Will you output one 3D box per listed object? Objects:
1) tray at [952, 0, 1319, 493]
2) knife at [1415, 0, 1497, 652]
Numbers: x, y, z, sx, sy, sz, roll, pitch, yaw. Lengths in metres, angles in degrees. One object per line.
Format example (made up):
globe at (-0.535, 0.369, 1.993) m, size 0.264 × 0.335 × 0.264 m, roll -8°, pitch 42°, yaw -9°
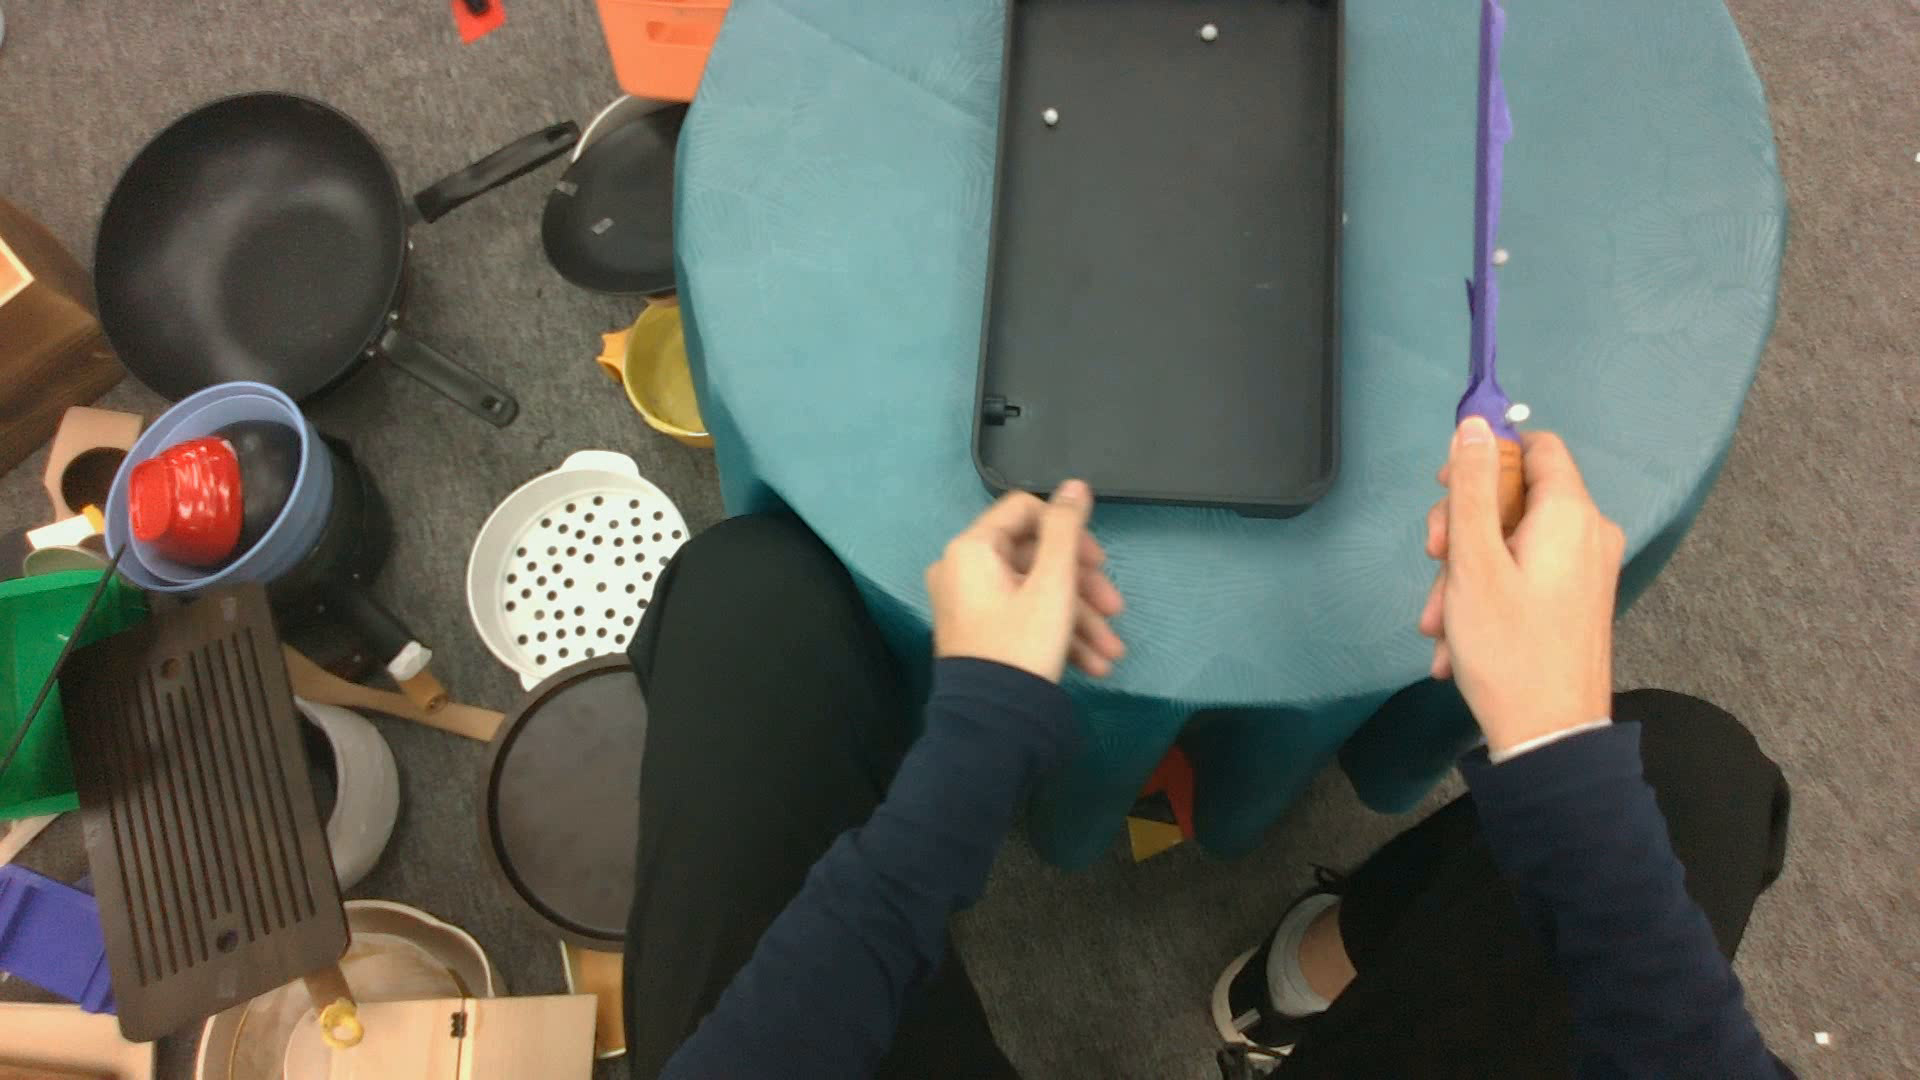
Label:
tray at (0.092, -0.181, 0.737) m, size 0.184 × 0.037 × 0.318 m, roll 1°, pitch 76°, yaw 2°
knife at (0.218, -0.109, 0.602) m, size 0.032 × 0.104 × 0.315 m, roll 1°, pitch 85°, yaw 18°
